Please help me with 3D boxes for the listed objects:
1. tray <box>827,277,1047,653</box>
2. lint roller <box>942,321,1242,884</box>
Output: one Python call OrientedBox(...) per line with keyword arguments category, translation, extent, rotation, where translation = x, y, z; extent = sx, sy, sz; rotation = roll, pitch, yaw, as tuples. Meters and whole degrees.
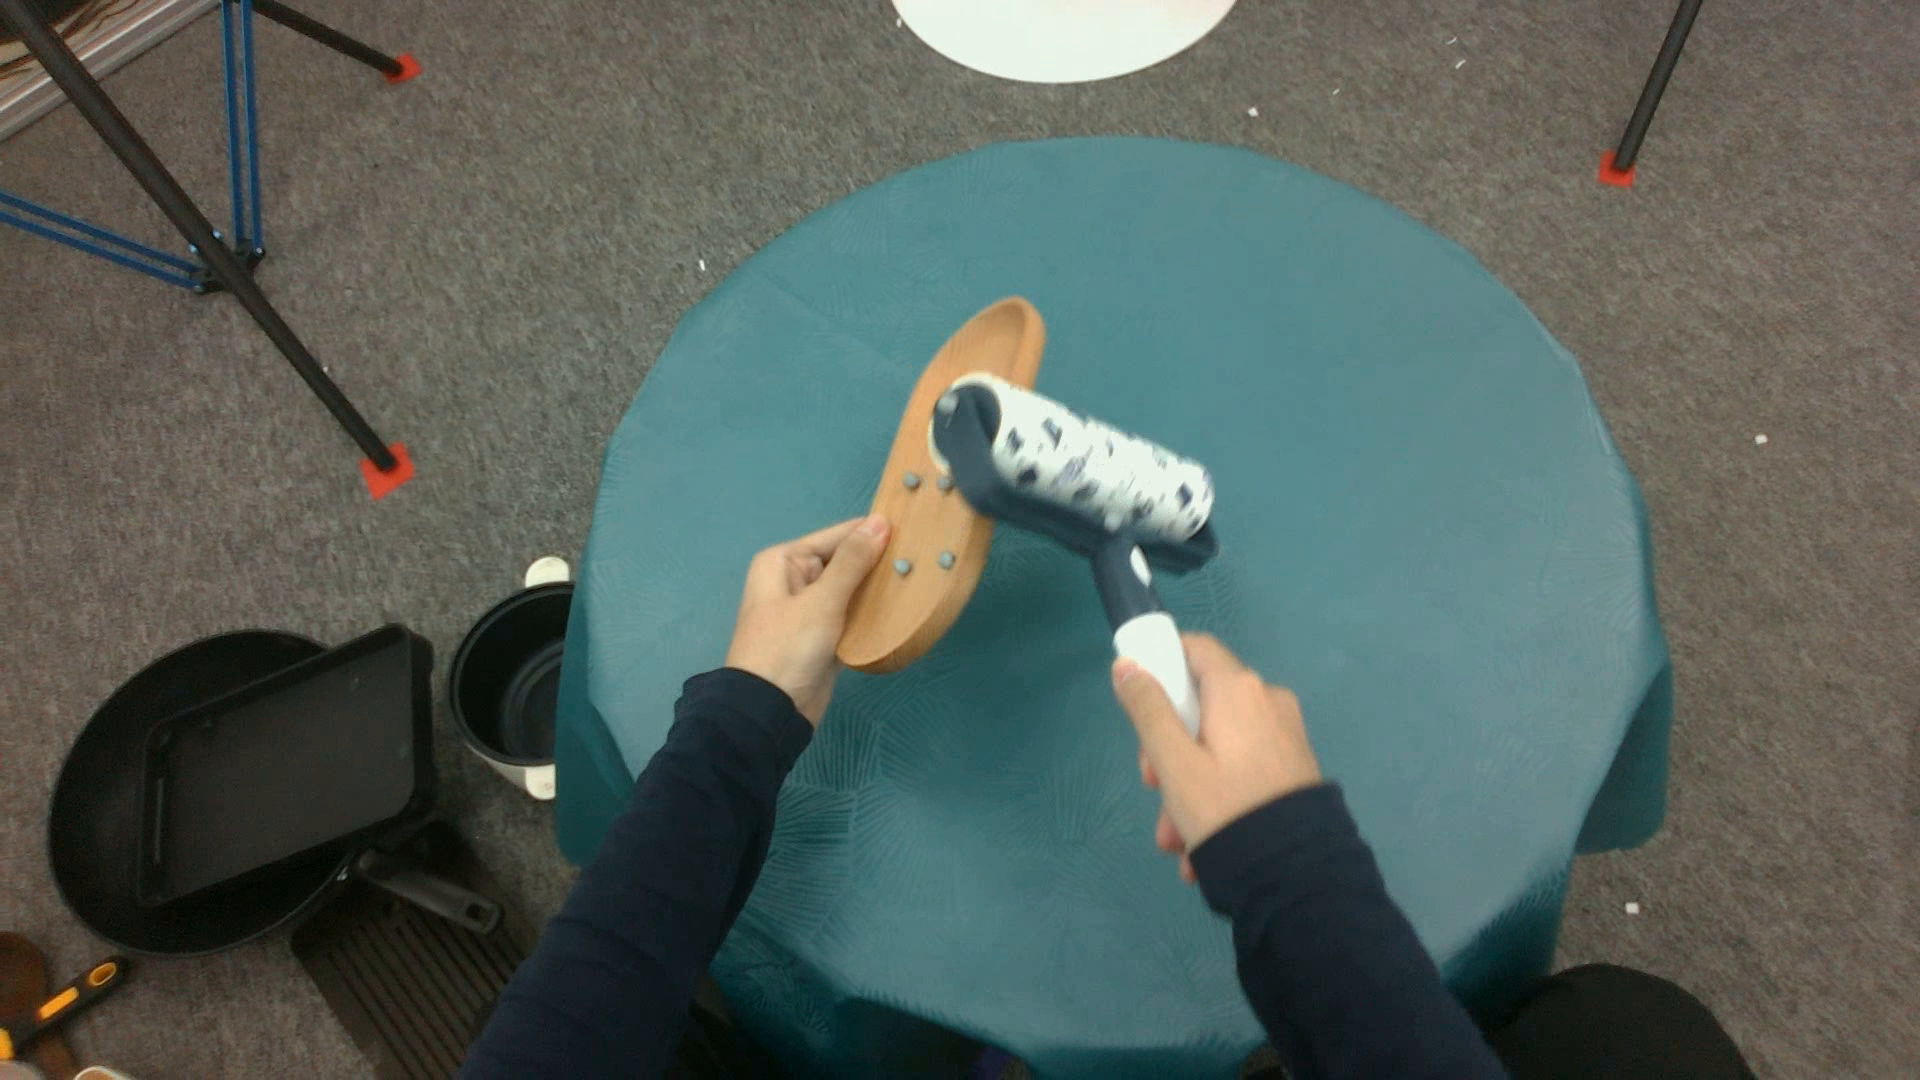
OrientedBox(category="tray", translation=(-0.009, -0.043, 0.693), extent=(0.101, 0.020, 0.232), rotation=(-21, 40, 42))
OrientedBox(category="lint roller", translation=(0.085, 0.028, 0.613), extent=(0.050, 0.176, 0.248), rotation=(-34, 57, 31))
